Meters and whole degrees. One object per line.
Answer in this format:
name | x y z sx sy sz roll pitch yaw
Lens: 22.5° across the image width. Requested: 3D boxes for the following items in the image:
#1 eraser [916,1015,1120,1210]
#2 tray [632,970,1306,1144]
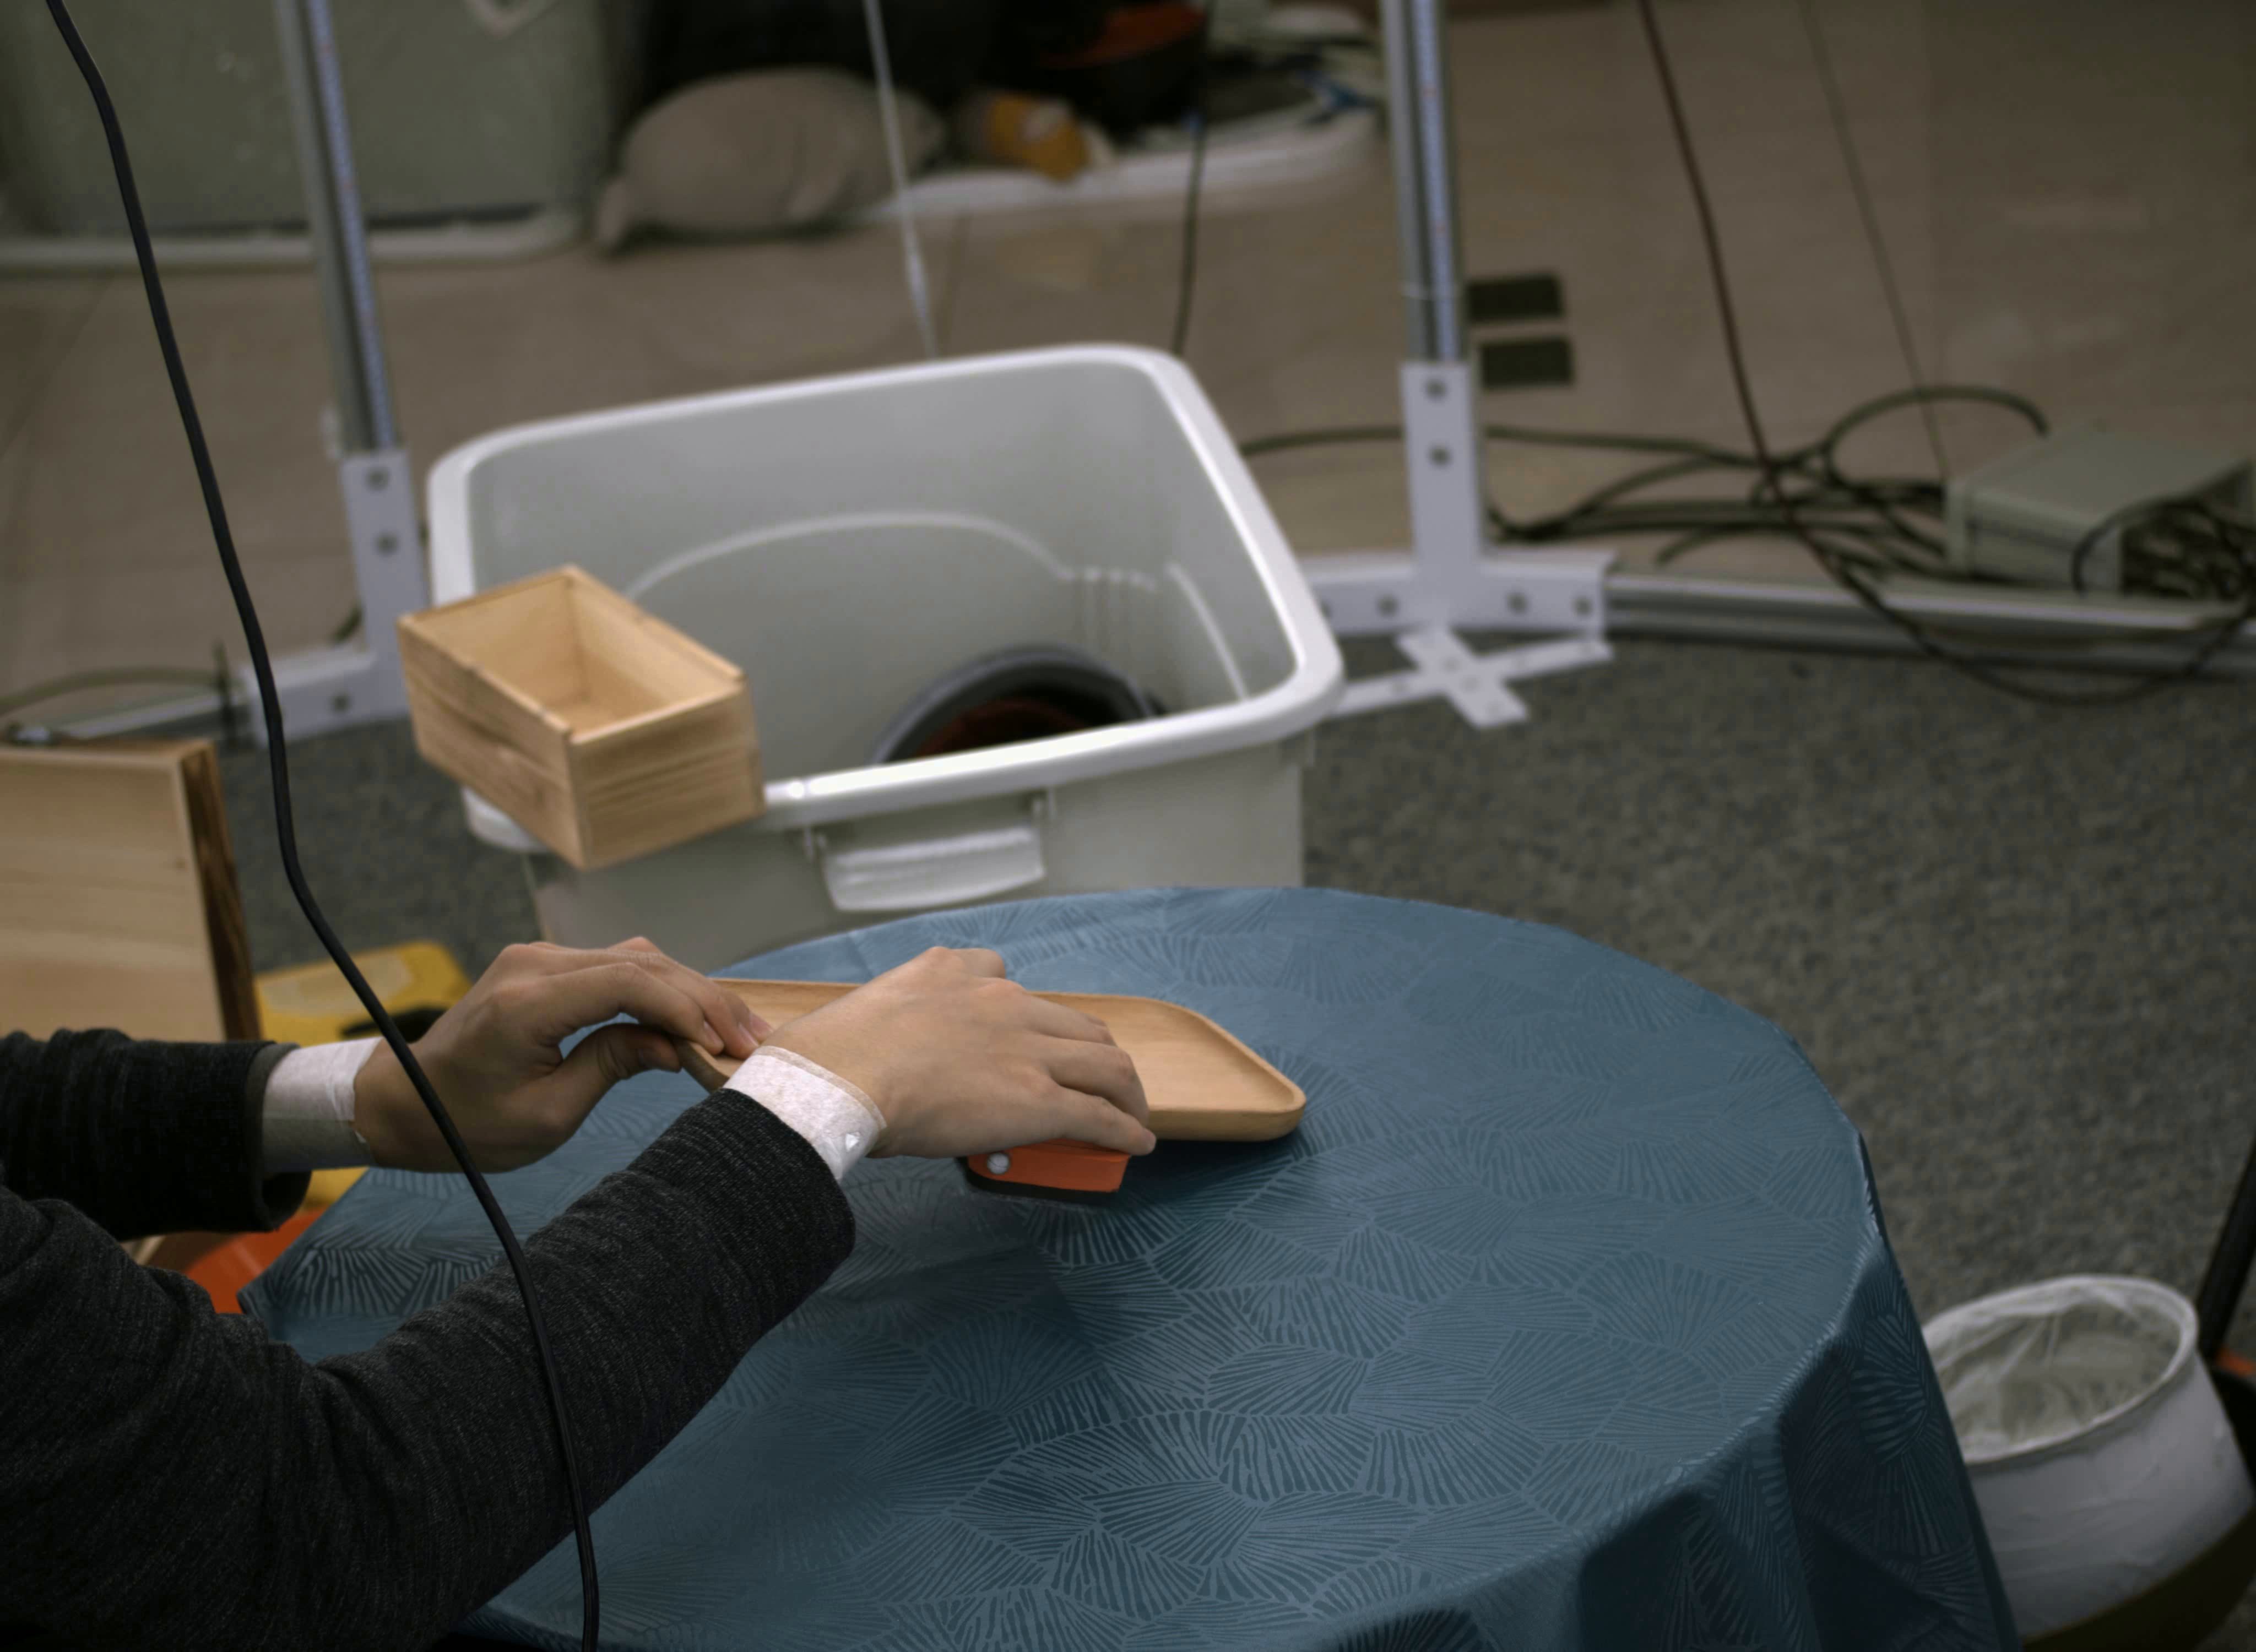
eraser | -0.040 0.104 2.062 0.059 0.023 0.106 8 22 -16
tray | -0.060 0.089 2.155 0.251 0.023 0.129 3 16 -28
